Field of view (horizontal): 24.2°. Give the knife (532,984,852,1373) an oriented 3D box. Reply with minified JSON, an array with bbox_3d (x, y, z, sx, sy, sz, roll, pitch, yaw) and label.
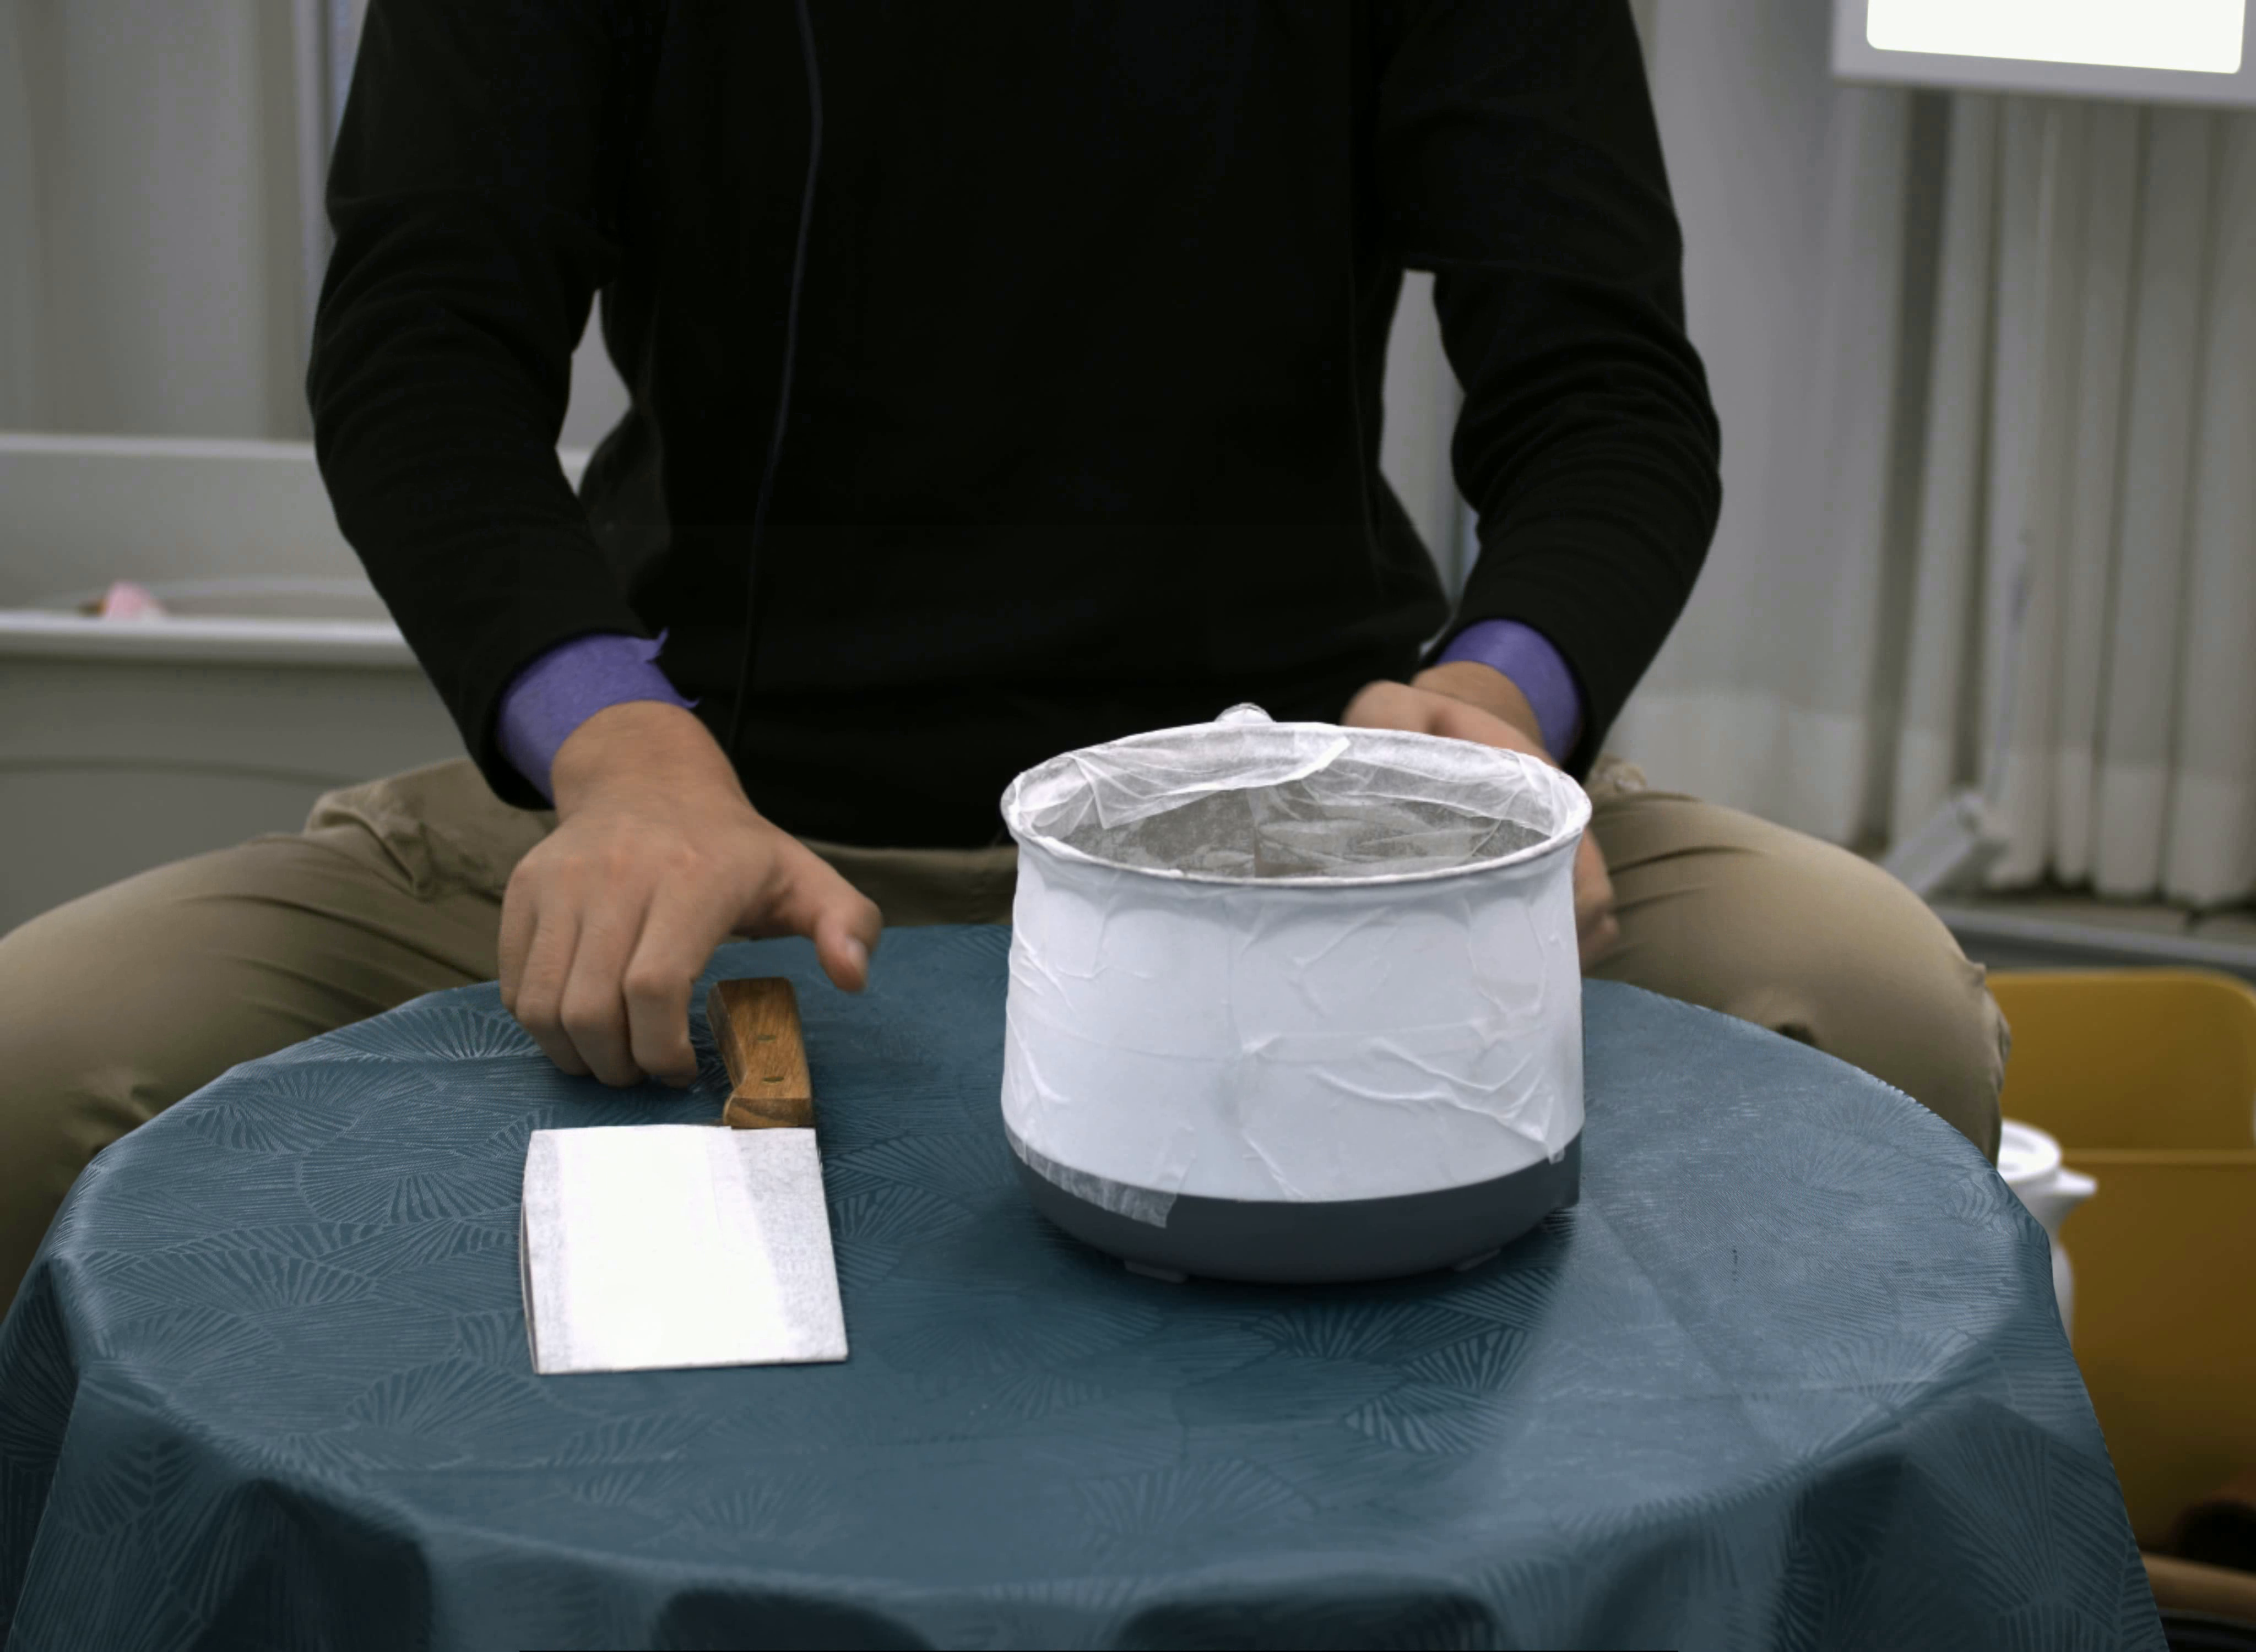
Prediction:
[{"bbox_3d":[-0.136,0.106,1.616,0.093,0.021,0.303,-1,17,-6],"label":"knife"}]

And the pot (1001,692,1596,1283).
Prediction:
[{"bbox_3d":[0.046,0.044,1.608,0.178,0.138,0.232,-2,17,-9],"label":"pot"}]
